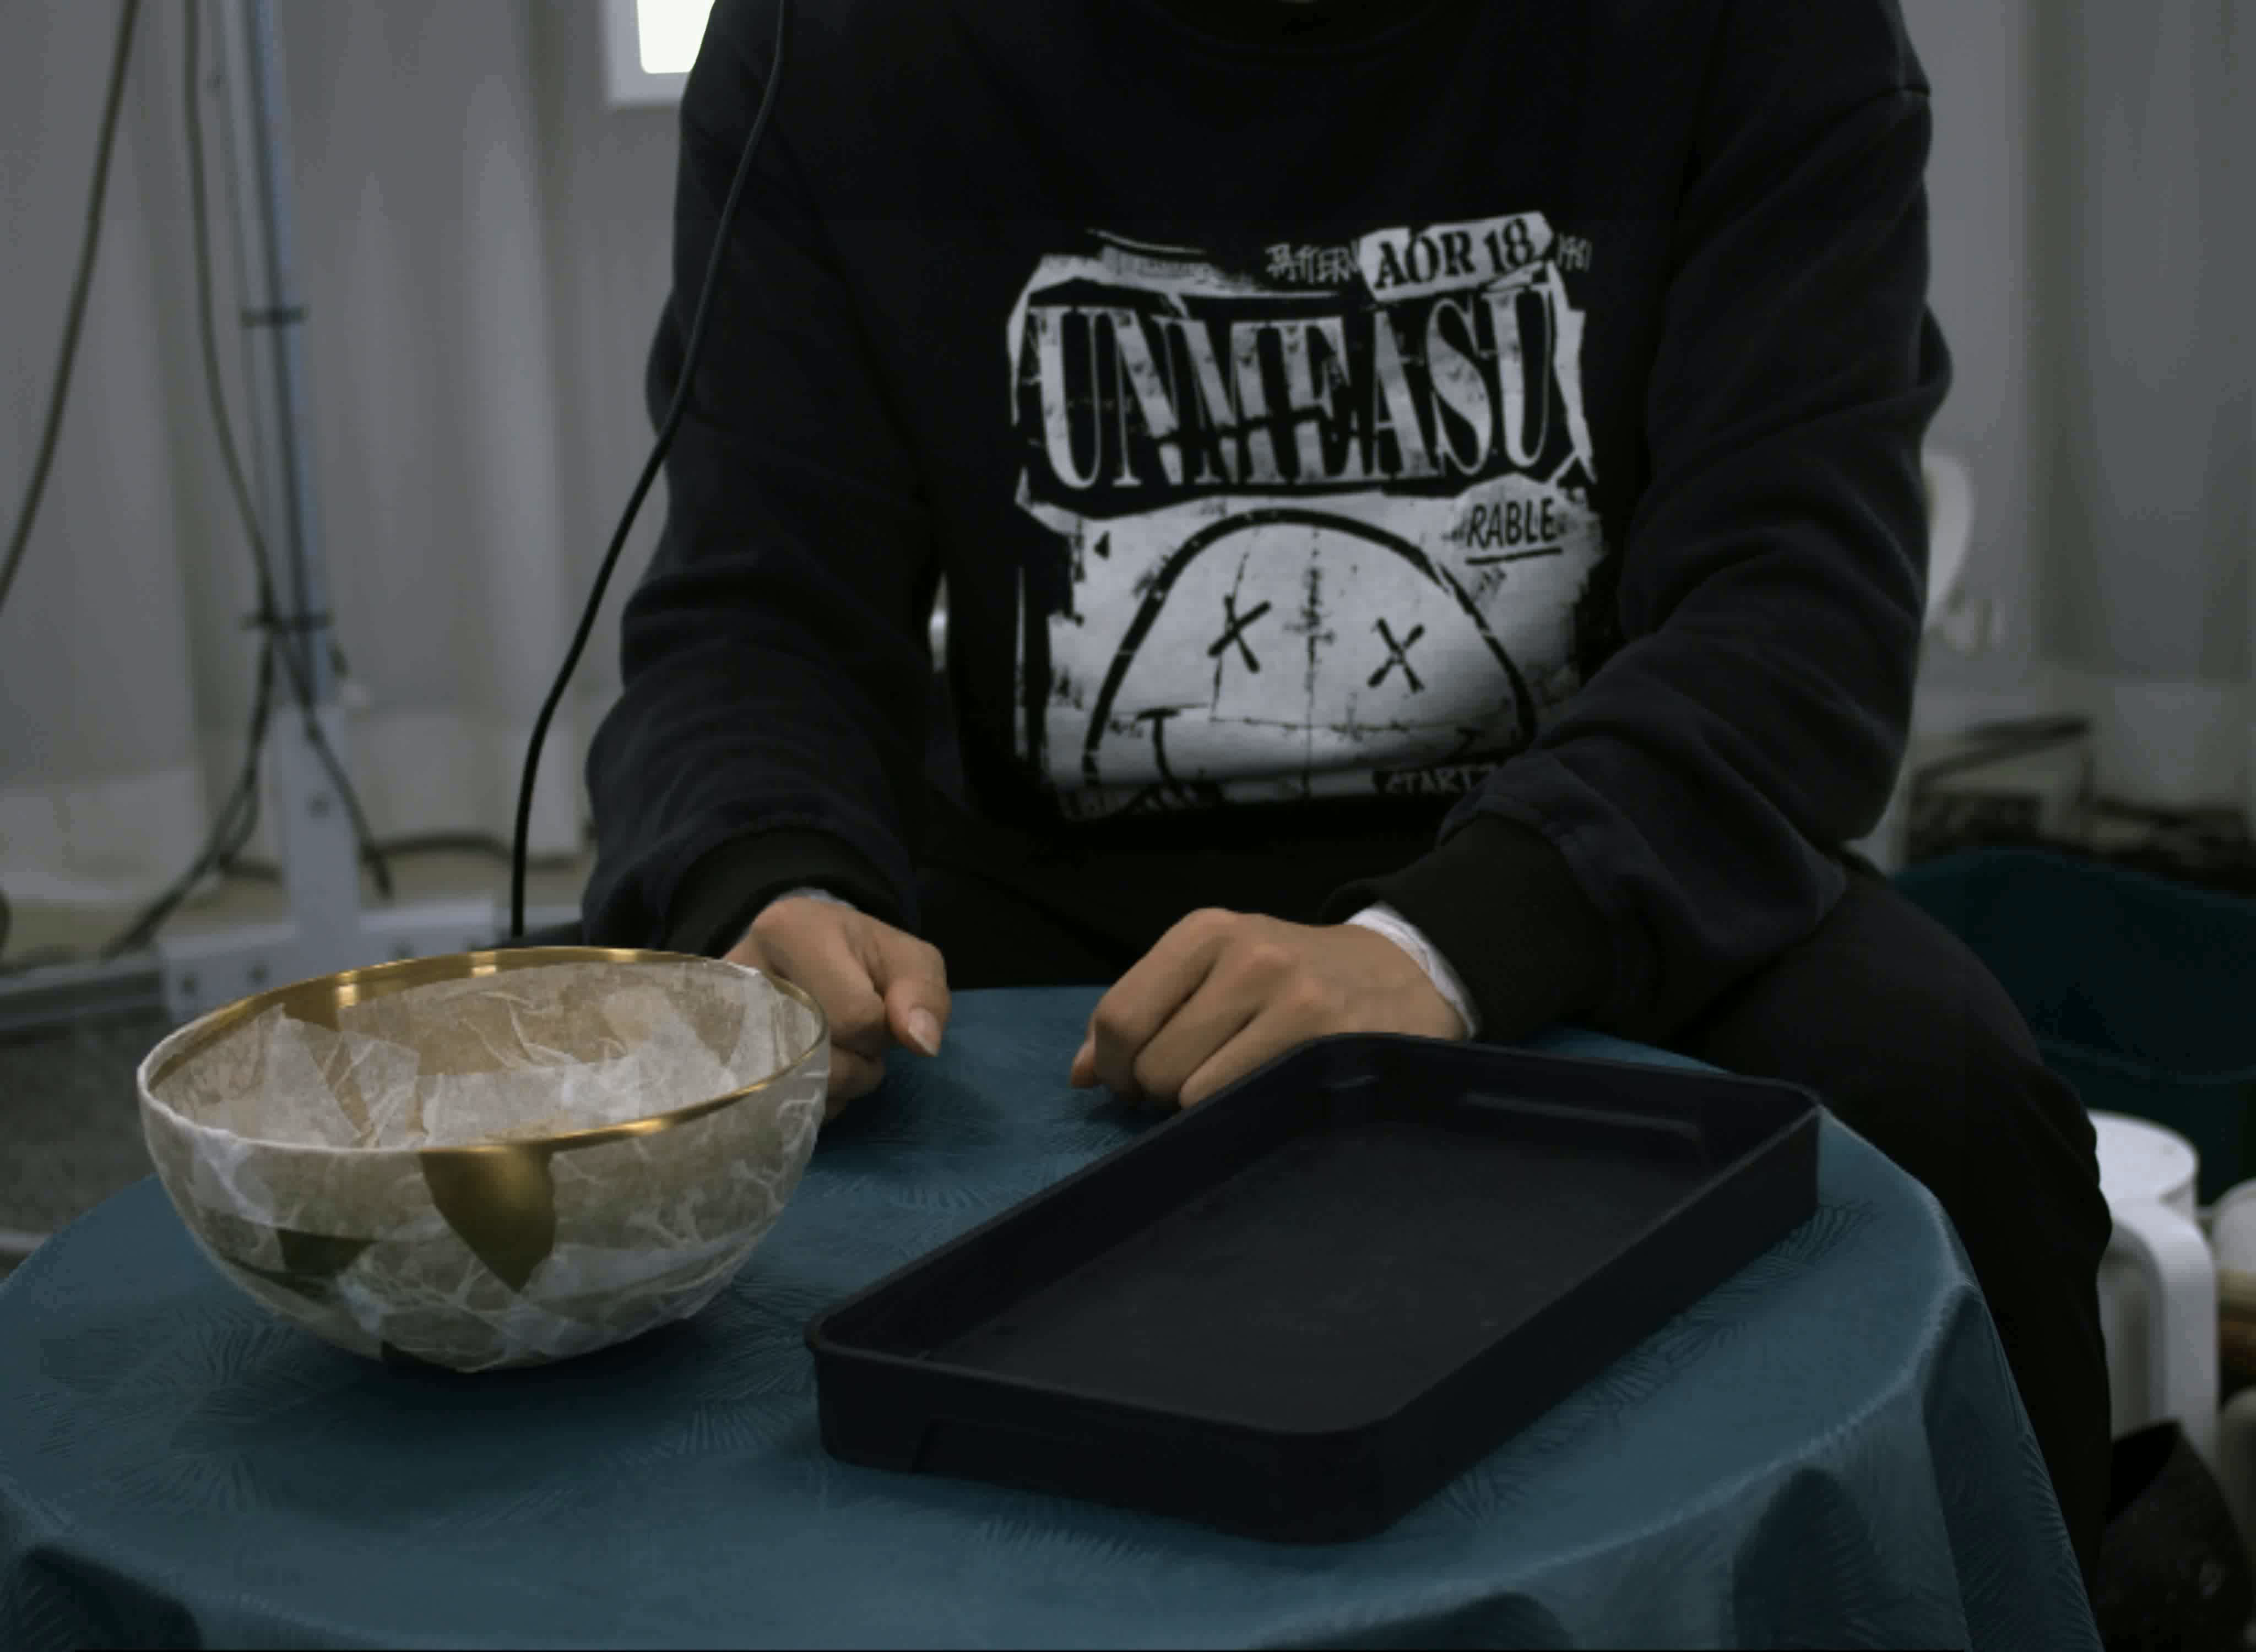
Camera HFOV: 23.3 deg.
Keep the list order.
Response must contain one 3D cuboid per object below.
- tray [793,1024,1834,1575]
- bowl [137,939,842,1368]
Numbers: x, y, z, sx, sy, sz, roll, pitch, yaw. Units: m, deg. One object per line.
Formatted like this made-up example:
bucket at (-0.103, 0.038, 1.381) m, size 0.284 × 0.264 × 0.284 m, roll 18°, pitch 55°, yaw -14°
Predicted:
tray at (0.061, 0.130, 1.588) m, size 0.185 × 0.037 × 0.318 m, roll 8°, pitch 20°, yaw 32°
bowl at (-0.181, 0.105, 1.607) m, size 0.214 × 0.094 × 0.216 m, roll -4°, pitch 14°, yaw 1°
